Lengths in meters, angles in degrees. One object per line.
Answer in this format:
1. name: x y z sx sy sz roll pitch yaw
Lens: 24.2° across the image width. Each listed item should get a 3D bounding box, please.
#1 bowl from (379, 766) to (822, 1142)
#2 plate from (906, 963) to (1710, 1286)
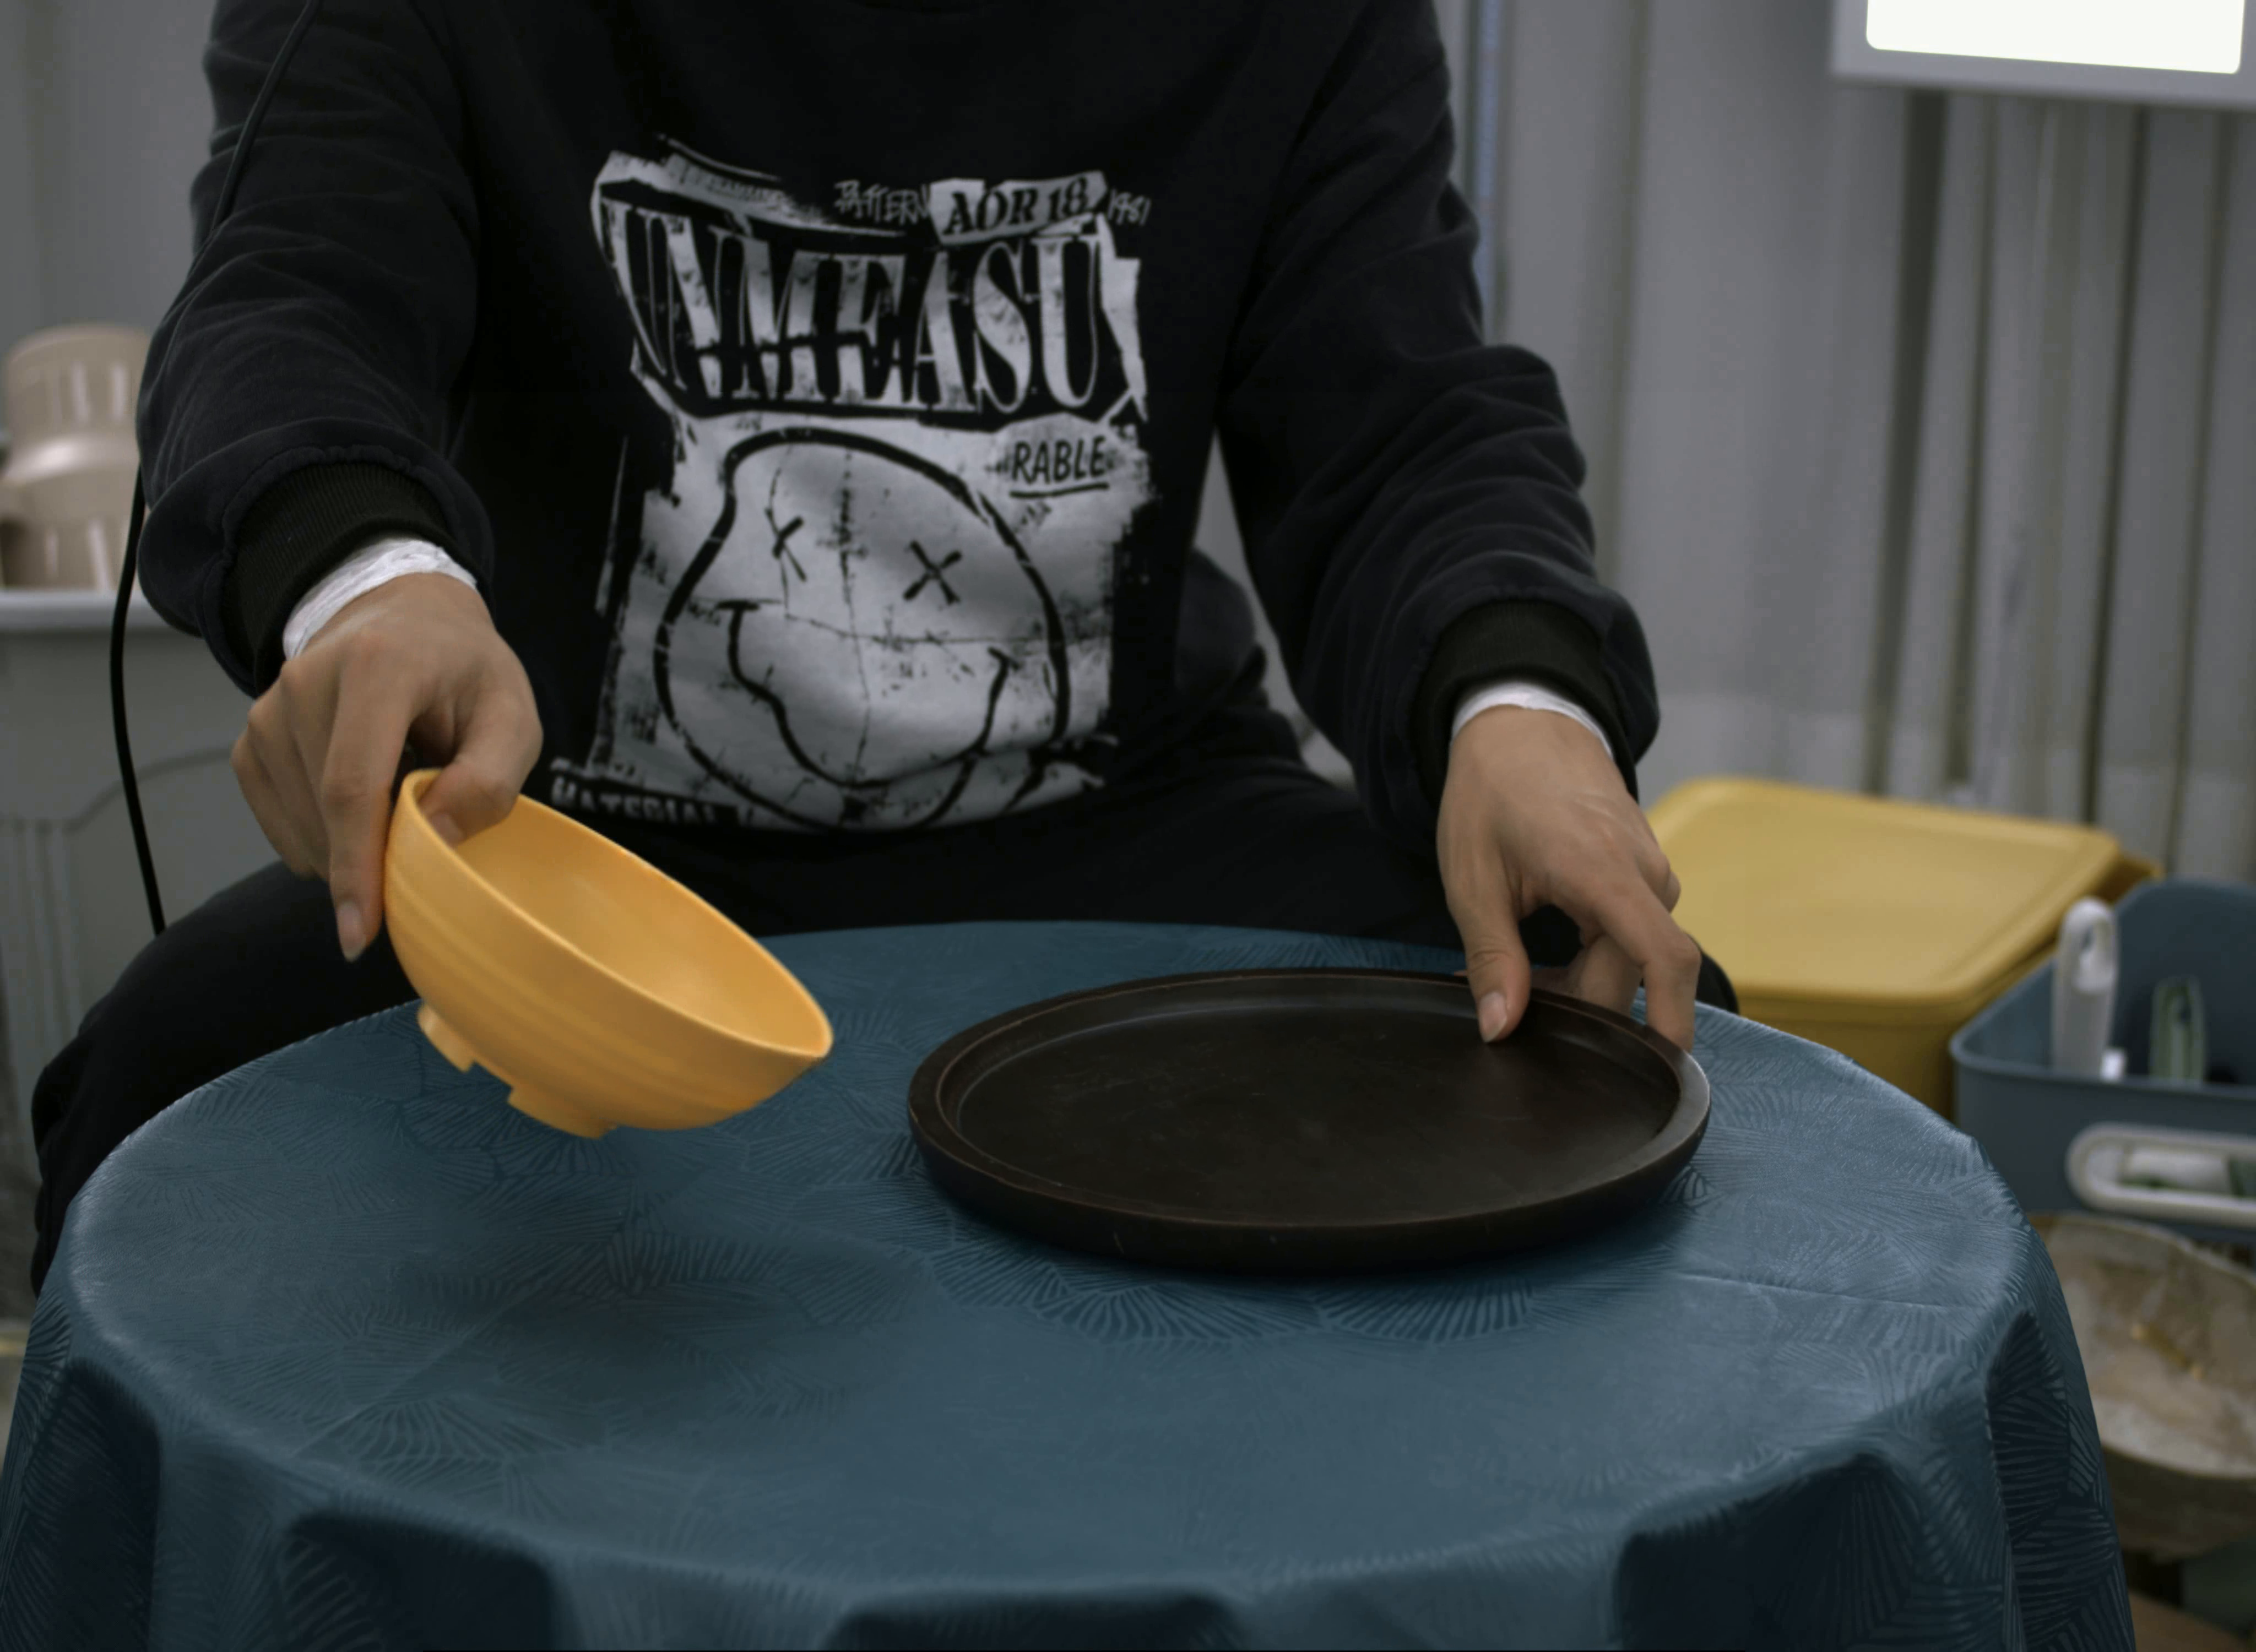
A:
1. bowl: -0.163 0.048 1.513 0.145 0.060 0.145 35 7 -4
2. plate: 0.057 0.091 1.657 0.254 0.029 0.253 -2 16 1
